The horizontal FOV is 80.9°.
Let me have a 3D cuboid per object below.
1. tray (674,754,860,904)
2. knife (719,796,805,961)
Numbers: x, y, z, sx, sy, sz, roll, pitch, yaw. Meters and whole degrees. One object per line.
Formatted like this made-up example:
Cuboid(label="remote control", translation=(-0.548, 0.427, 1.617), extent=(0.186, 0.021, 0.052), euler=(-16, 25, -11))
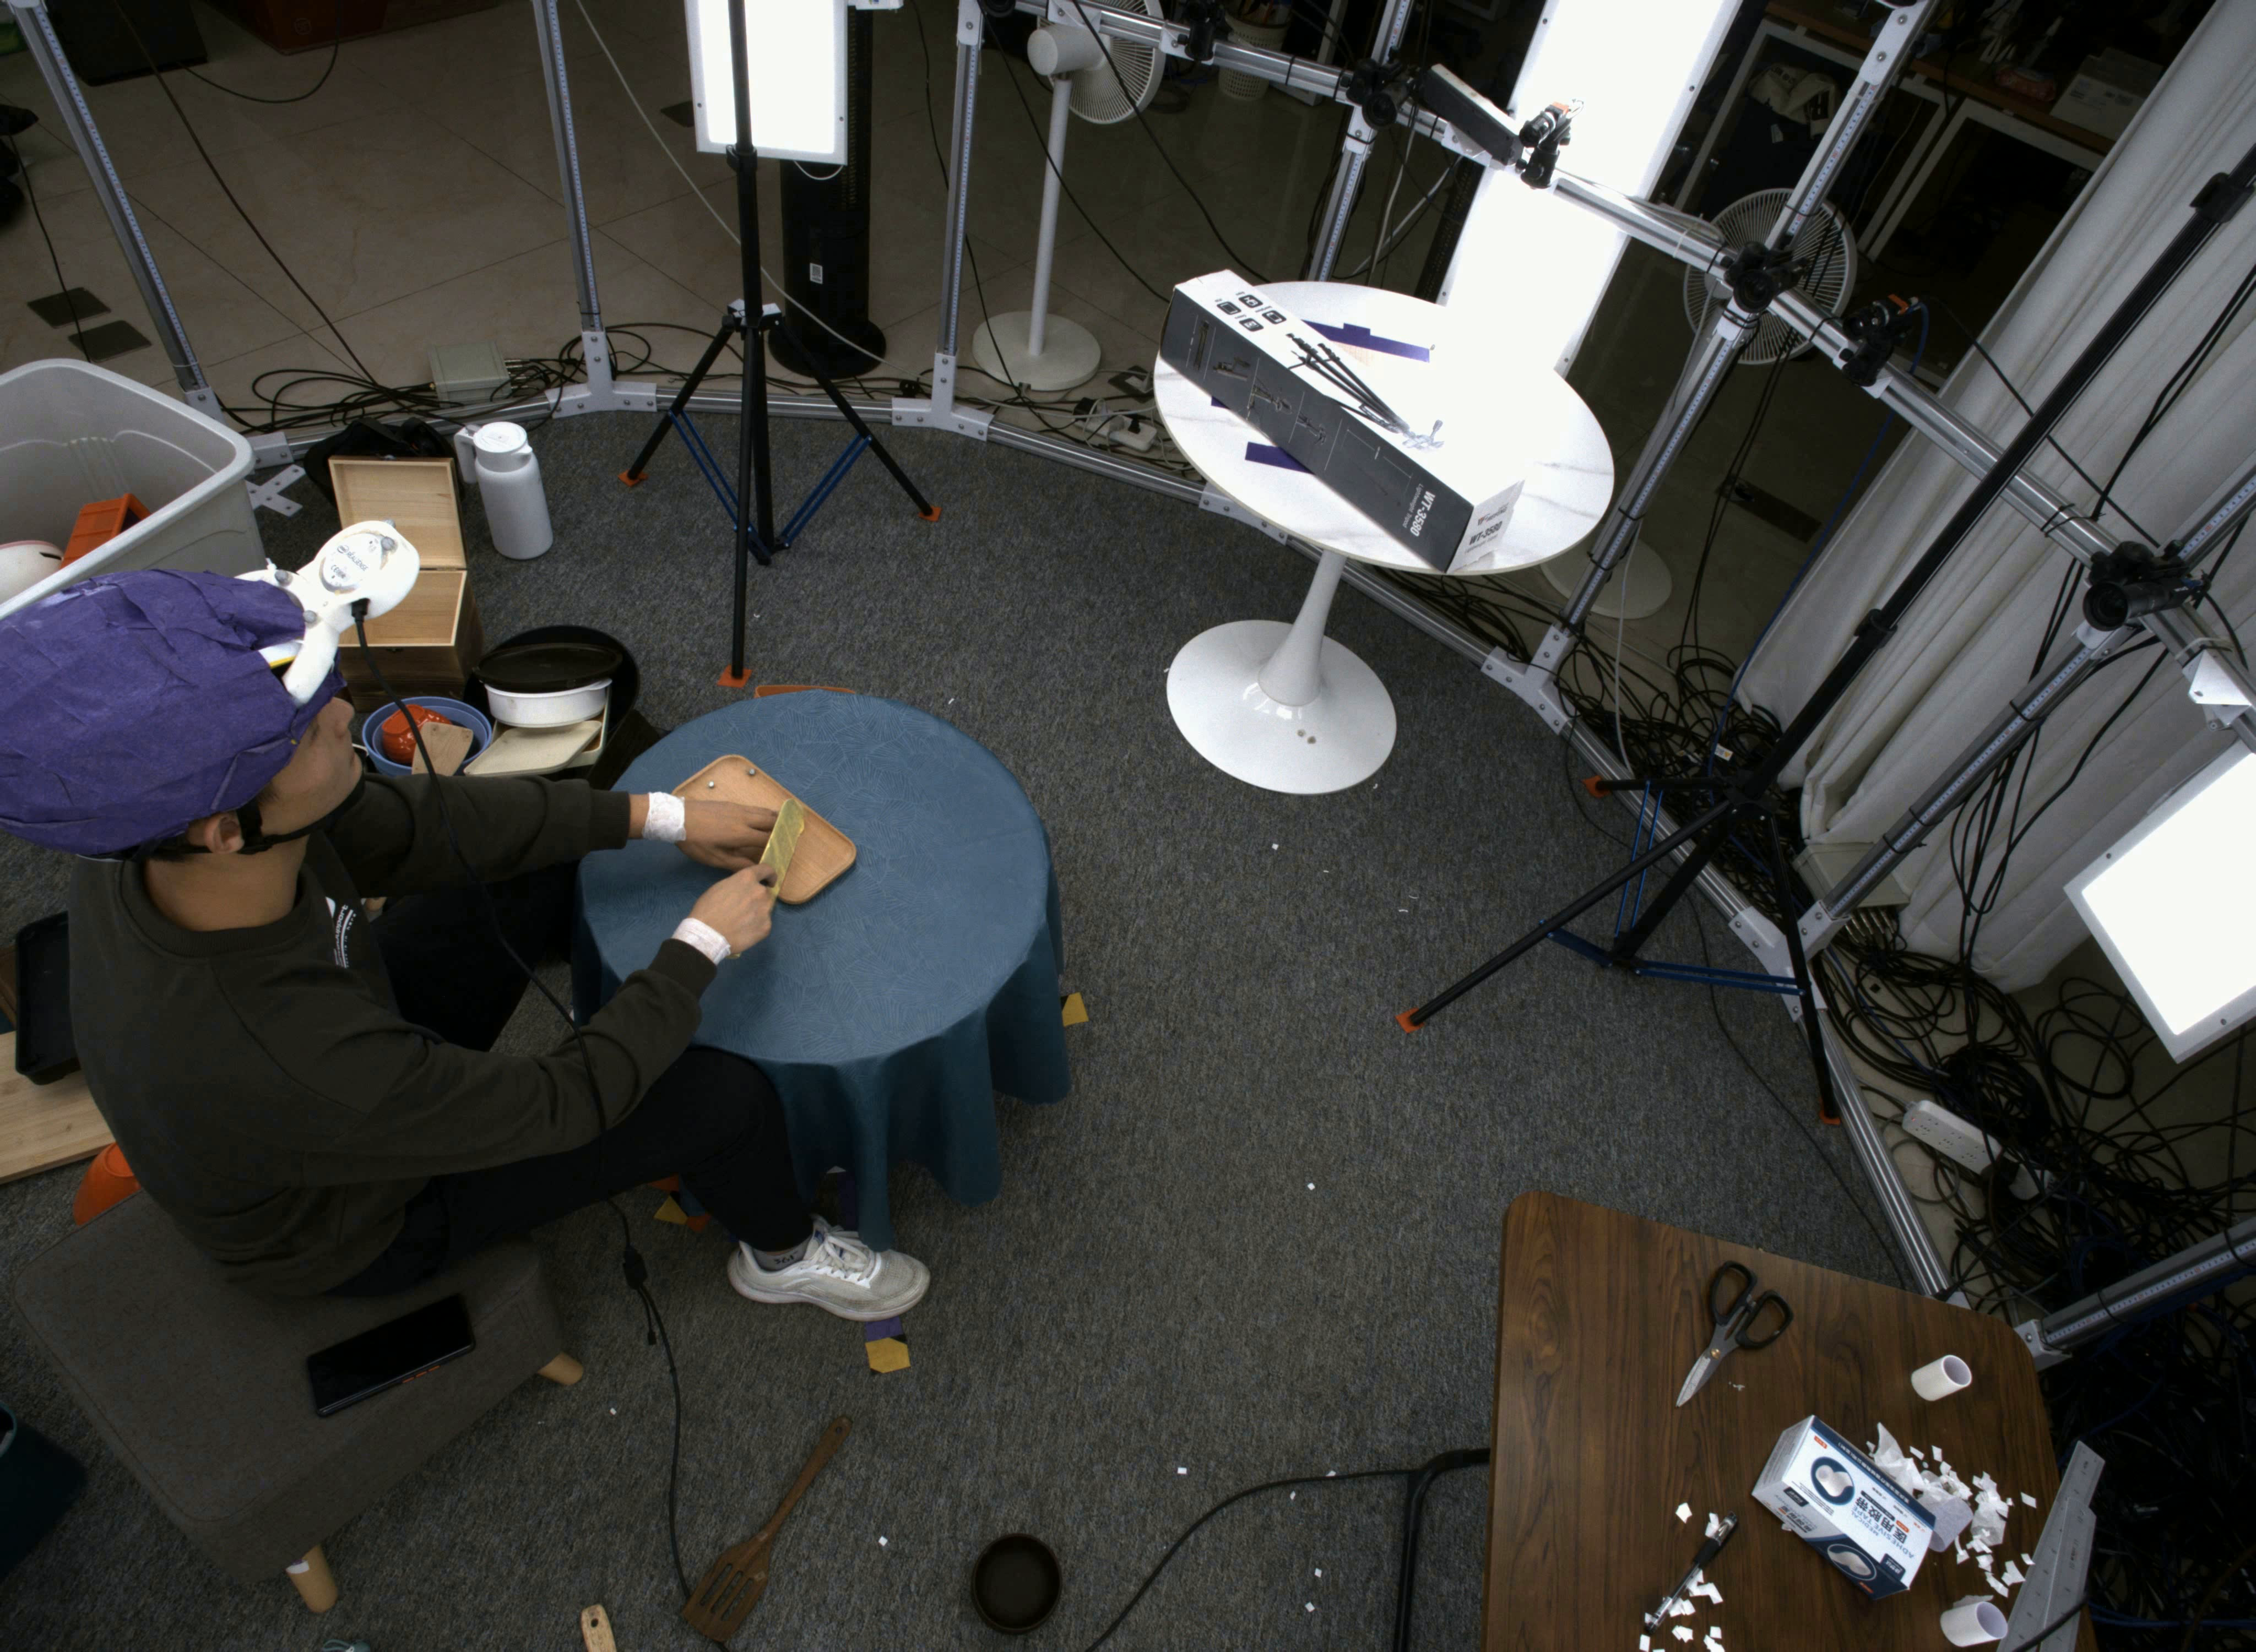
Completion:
Cuboid(label="tray", translation=(-0.477, 0.001, 1.710), extent=(0.246, 0.023, 0.130), euler=(36, 57, 13))
Cuboid(label="knife", translation=(-0.448, 0.064, 1.612), extent=(0.027, 0.084, 0.285), euler=(1, 42, 10))
